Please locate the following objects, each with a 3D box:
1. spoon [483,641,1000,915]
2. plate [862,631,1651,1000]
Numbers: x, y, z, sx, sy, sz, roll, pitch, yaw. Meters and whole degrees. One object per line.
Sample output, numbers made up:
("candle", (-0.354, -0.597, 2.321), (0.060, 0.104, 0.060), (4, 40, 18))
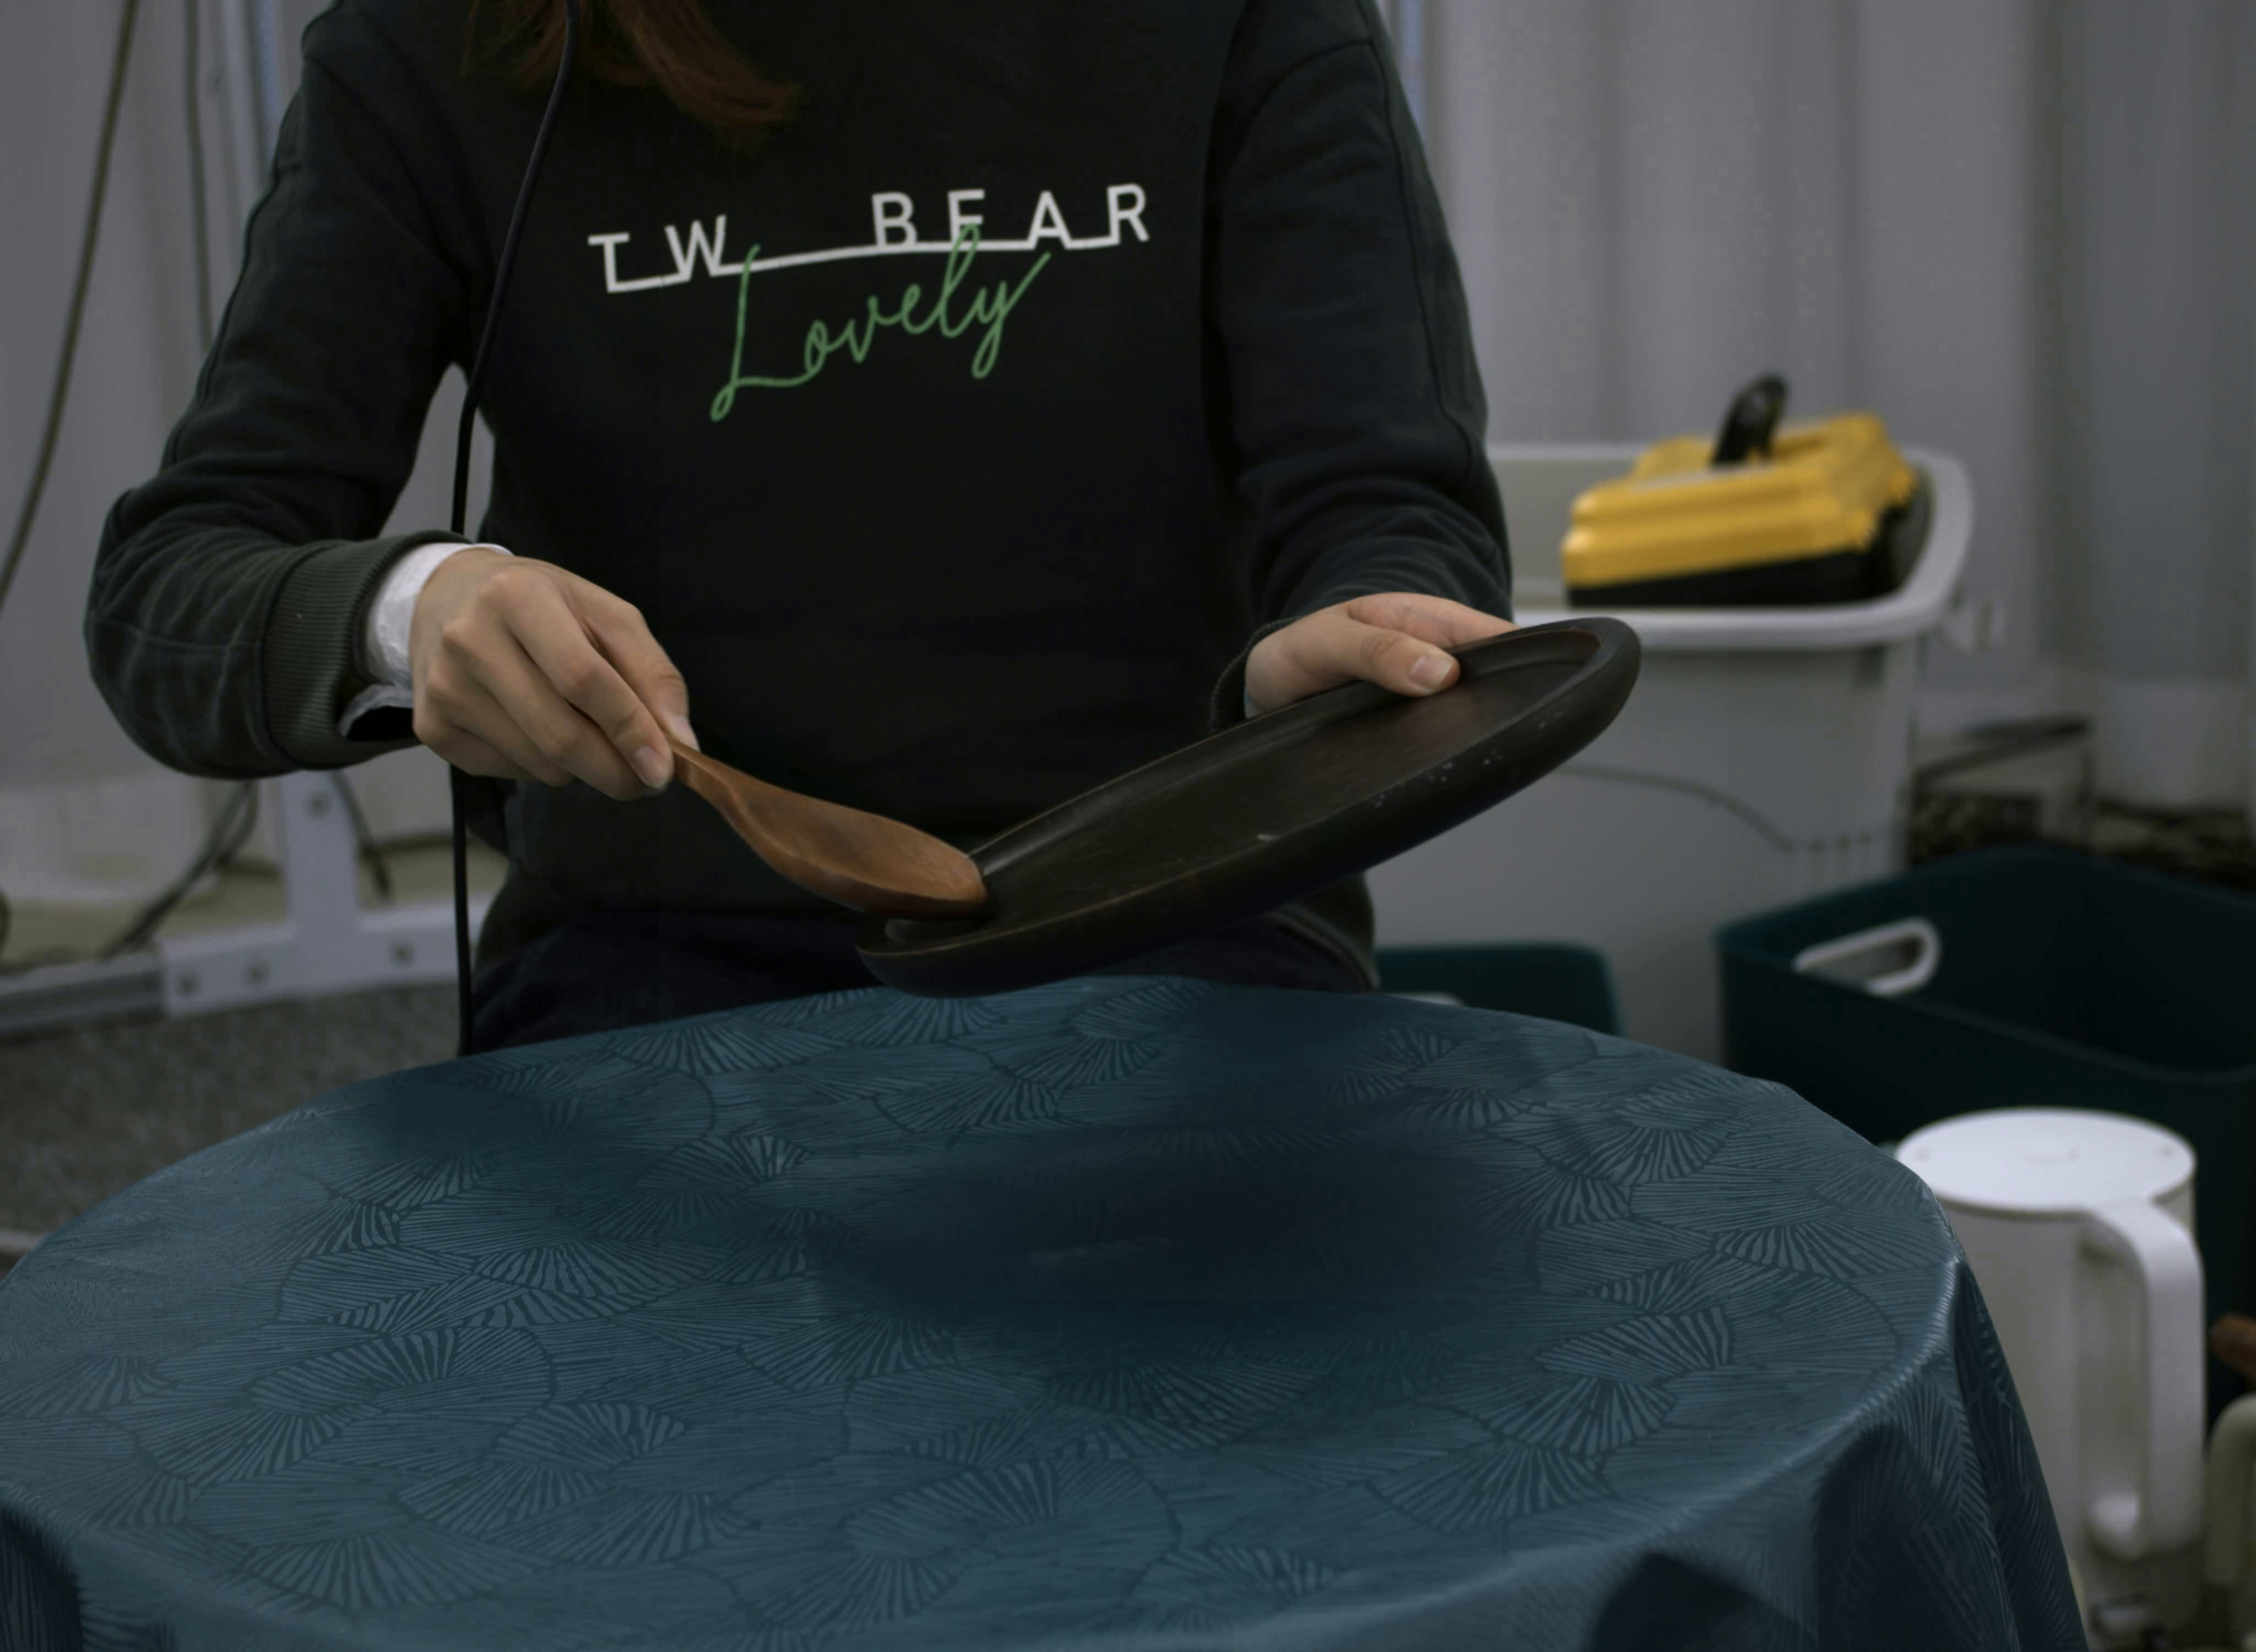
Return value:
("spoon", (-0.126, -0.013, 1.704), (0.218, 0.017, 0.075), (28, 20, 37))
("plate", (0.040, -0.004, 1.647), (0.254, 0.029, 0.256), (-21, 9, 3))
